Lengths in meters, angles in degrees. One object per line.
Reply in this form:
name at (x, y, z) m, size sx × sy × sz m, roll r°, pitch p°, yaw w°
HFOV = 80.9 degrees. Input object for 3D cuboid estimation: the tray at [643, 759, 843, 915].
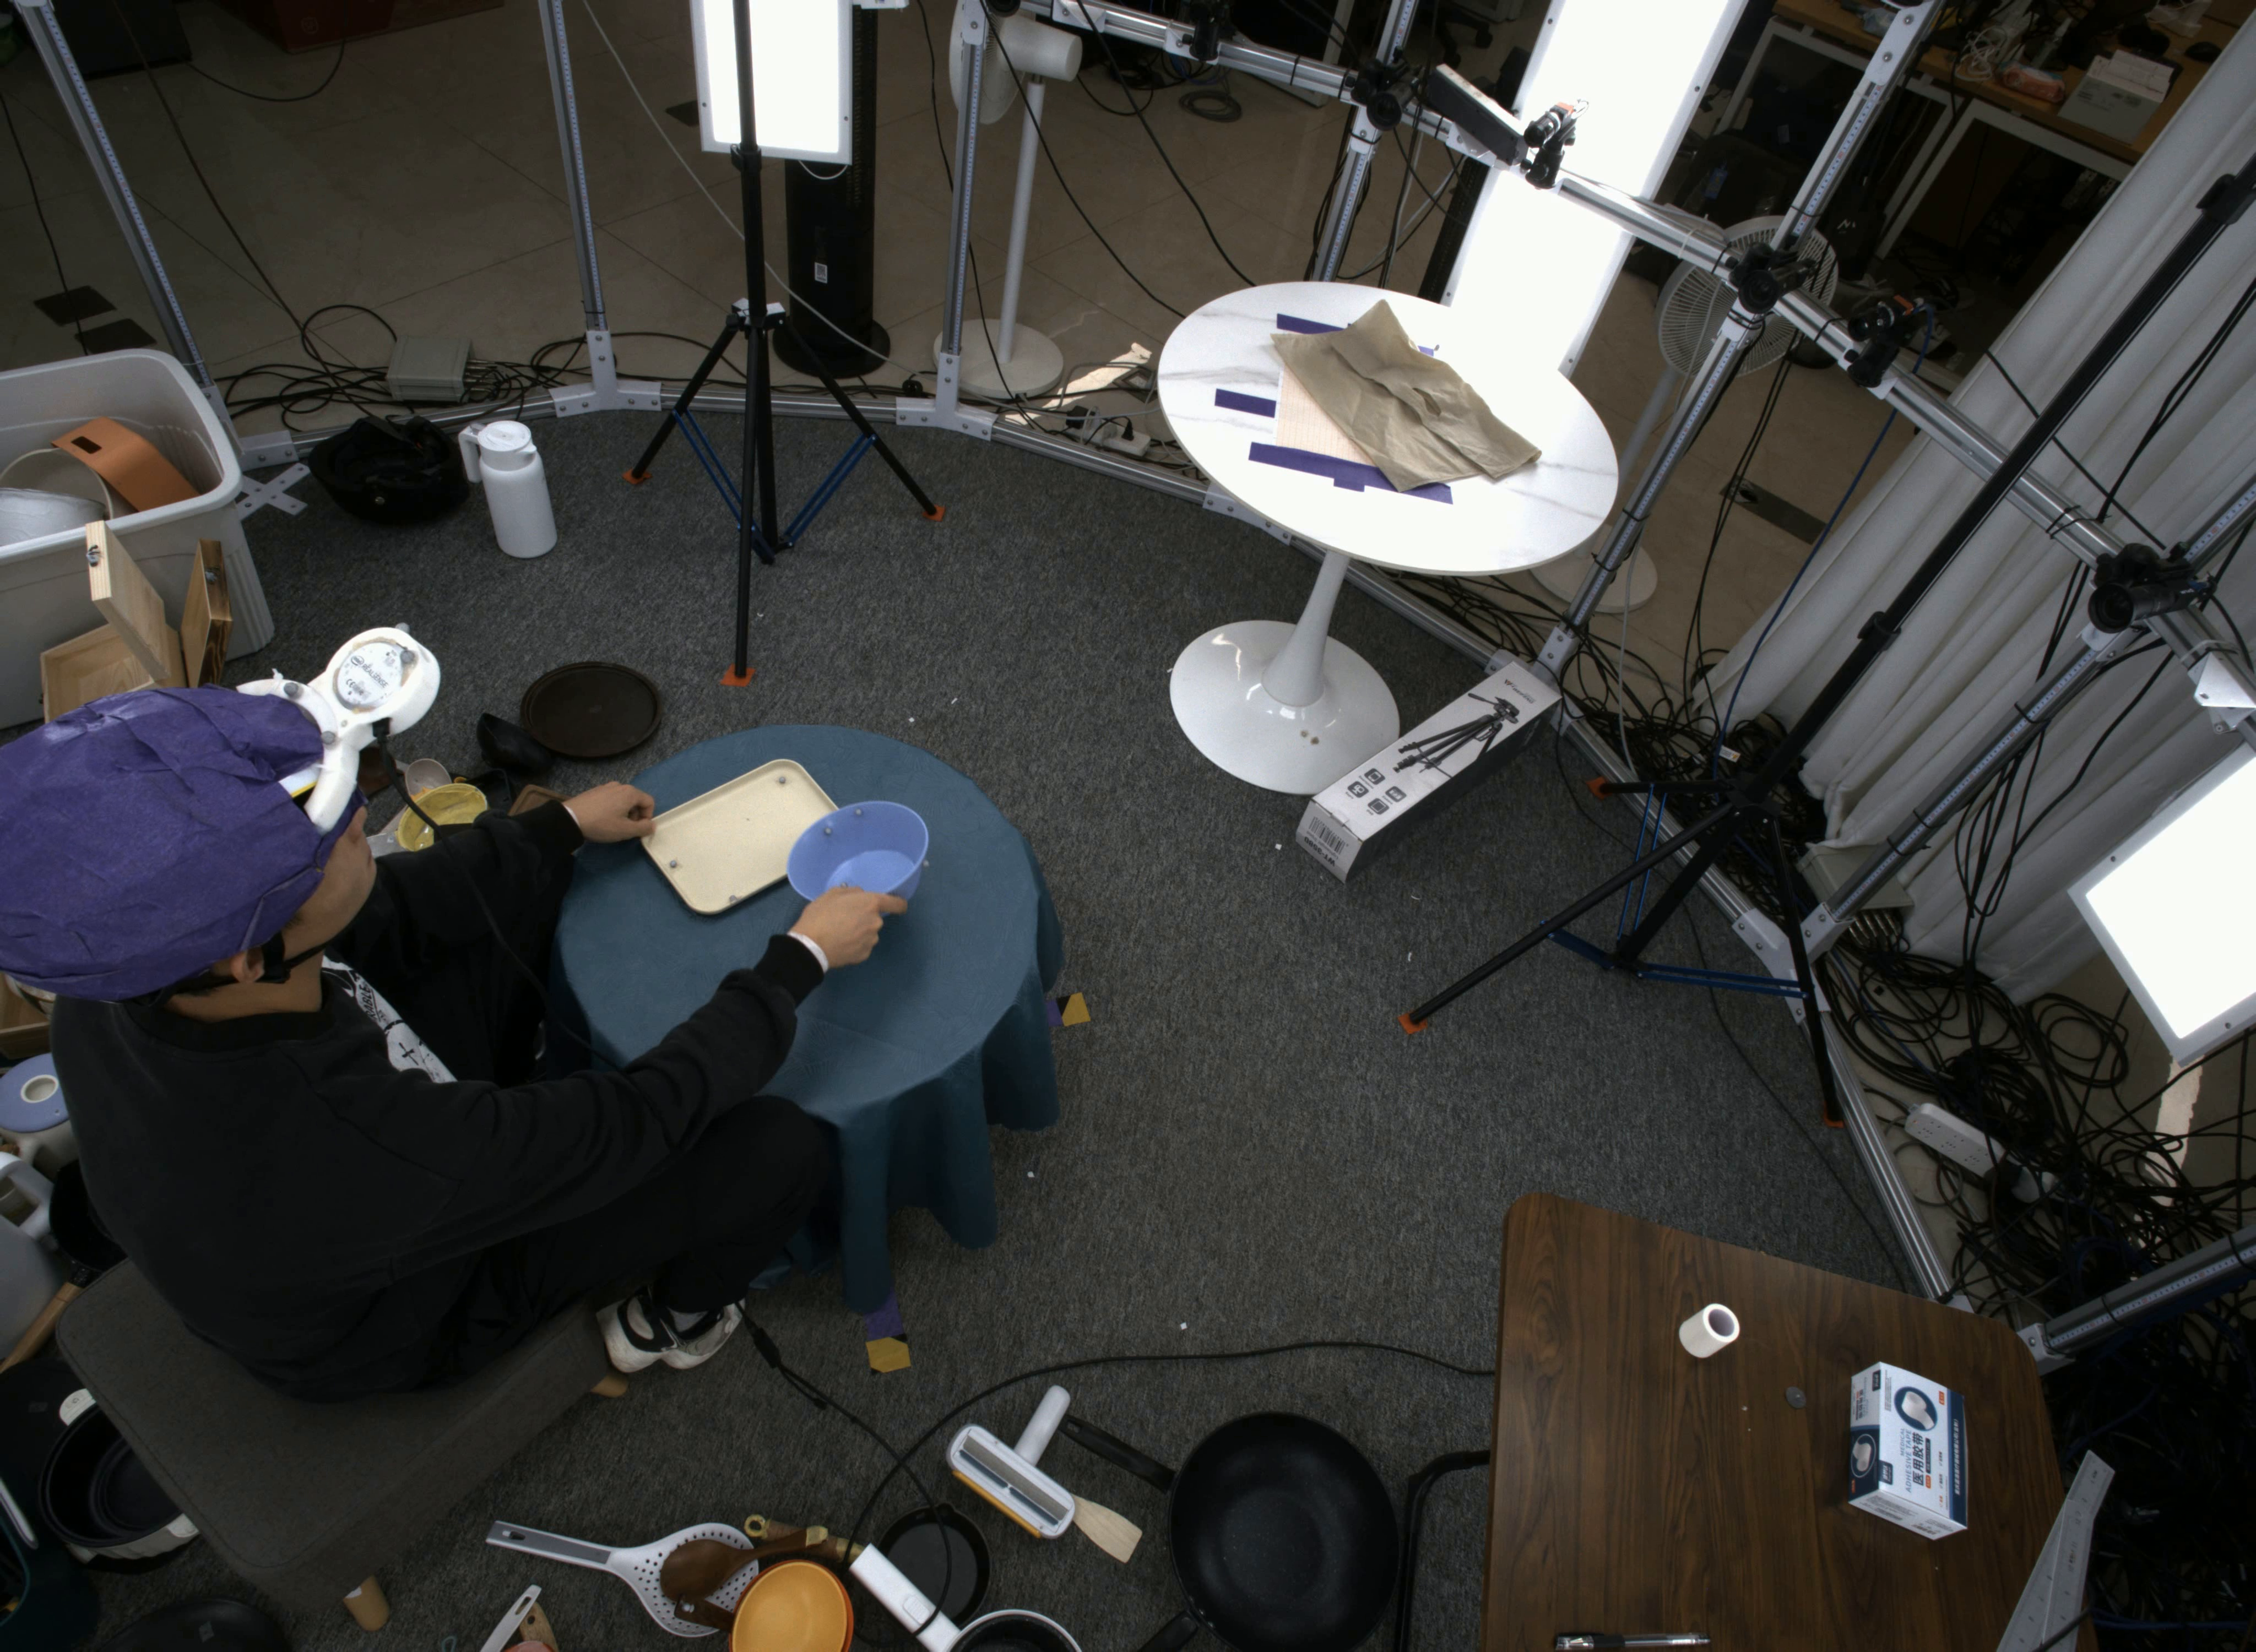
tray at (-0.496, 0.011, 1.690) m, size 0.240 × 0.018 × 0.167 m, roll -31°, pitch 66°, yaw -32°

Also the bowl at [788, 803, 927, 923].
bowl at (-0.325, 0.054, 1.604) m, size 0.173 × 0.073 × 0.172 m, roll -4°, pitch 44°, yaw 6°
